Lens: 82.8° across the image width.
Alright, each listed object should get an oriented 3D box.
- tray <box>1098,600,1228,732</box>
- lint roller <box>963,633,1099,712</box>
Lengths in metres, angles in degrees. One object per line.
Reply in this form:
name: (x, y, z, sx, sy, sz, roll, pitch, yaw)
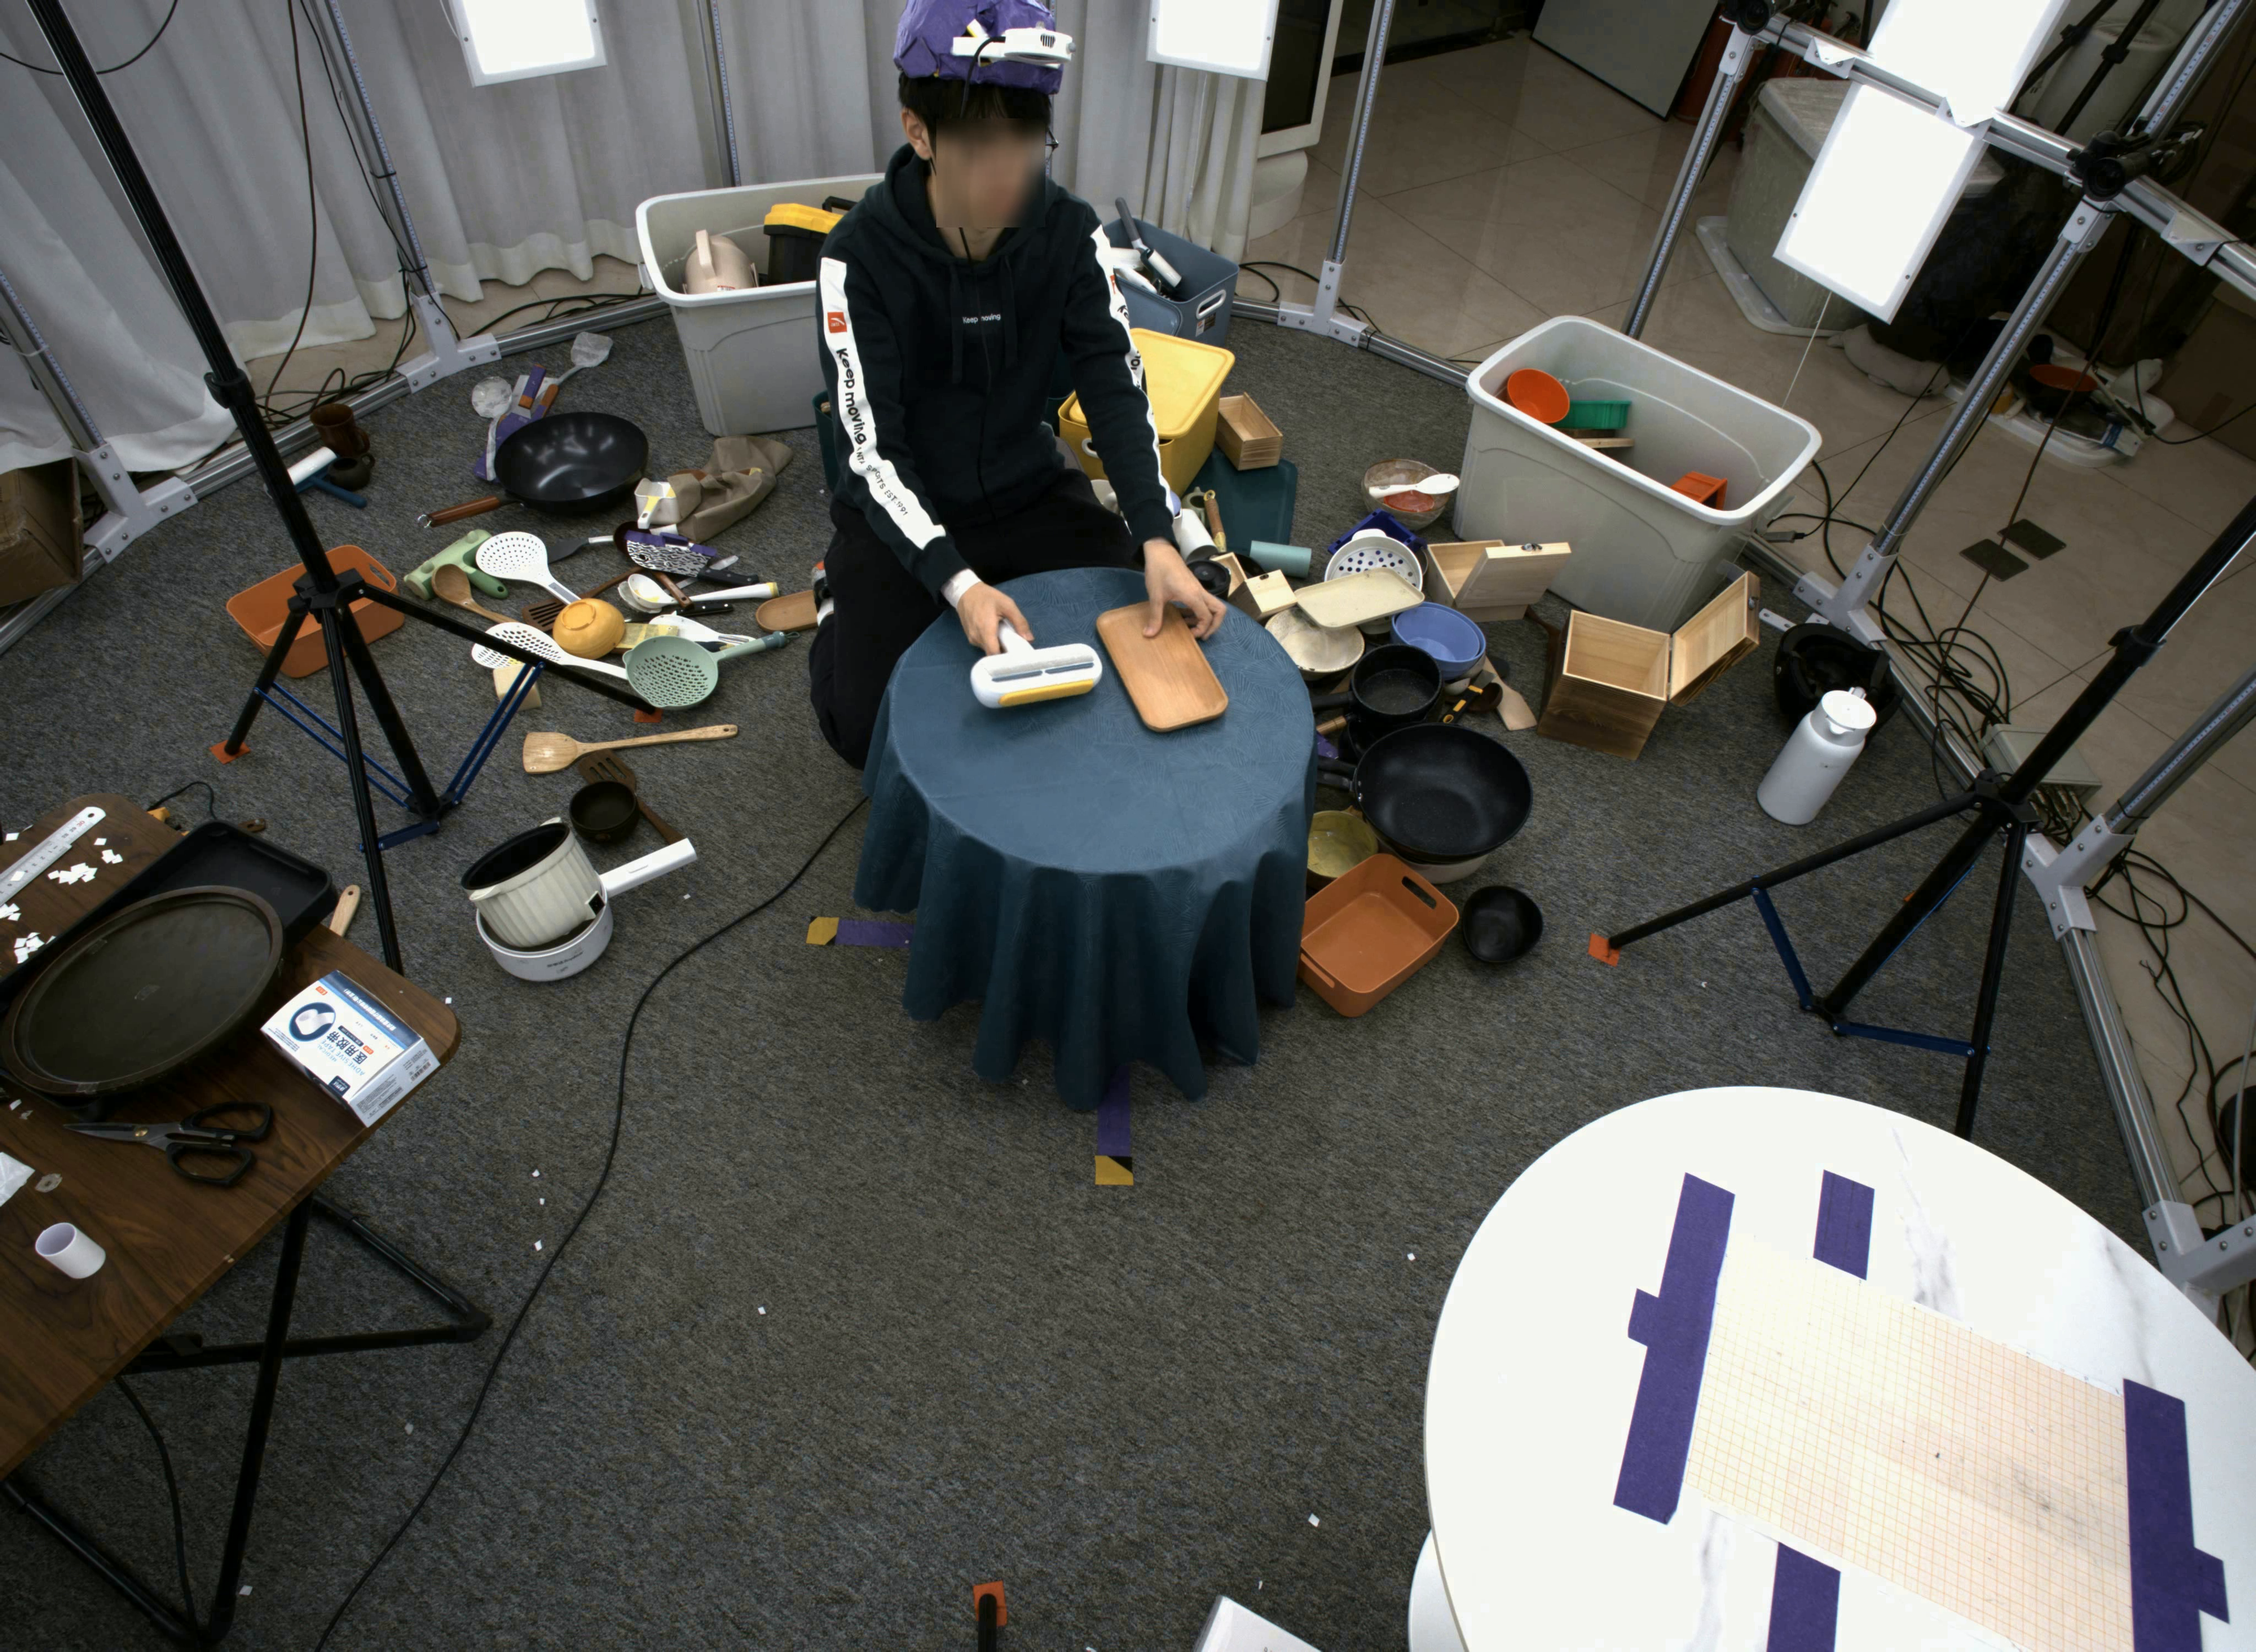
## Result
tray: (0.048, -0.234, 1.860, 0.130, 0.022, 0.257, -13, 51, -13)
lint roller: (-0.157, -0.234, 1.832, 0.193, 0.072, 0.197, -10, 43, -23)
